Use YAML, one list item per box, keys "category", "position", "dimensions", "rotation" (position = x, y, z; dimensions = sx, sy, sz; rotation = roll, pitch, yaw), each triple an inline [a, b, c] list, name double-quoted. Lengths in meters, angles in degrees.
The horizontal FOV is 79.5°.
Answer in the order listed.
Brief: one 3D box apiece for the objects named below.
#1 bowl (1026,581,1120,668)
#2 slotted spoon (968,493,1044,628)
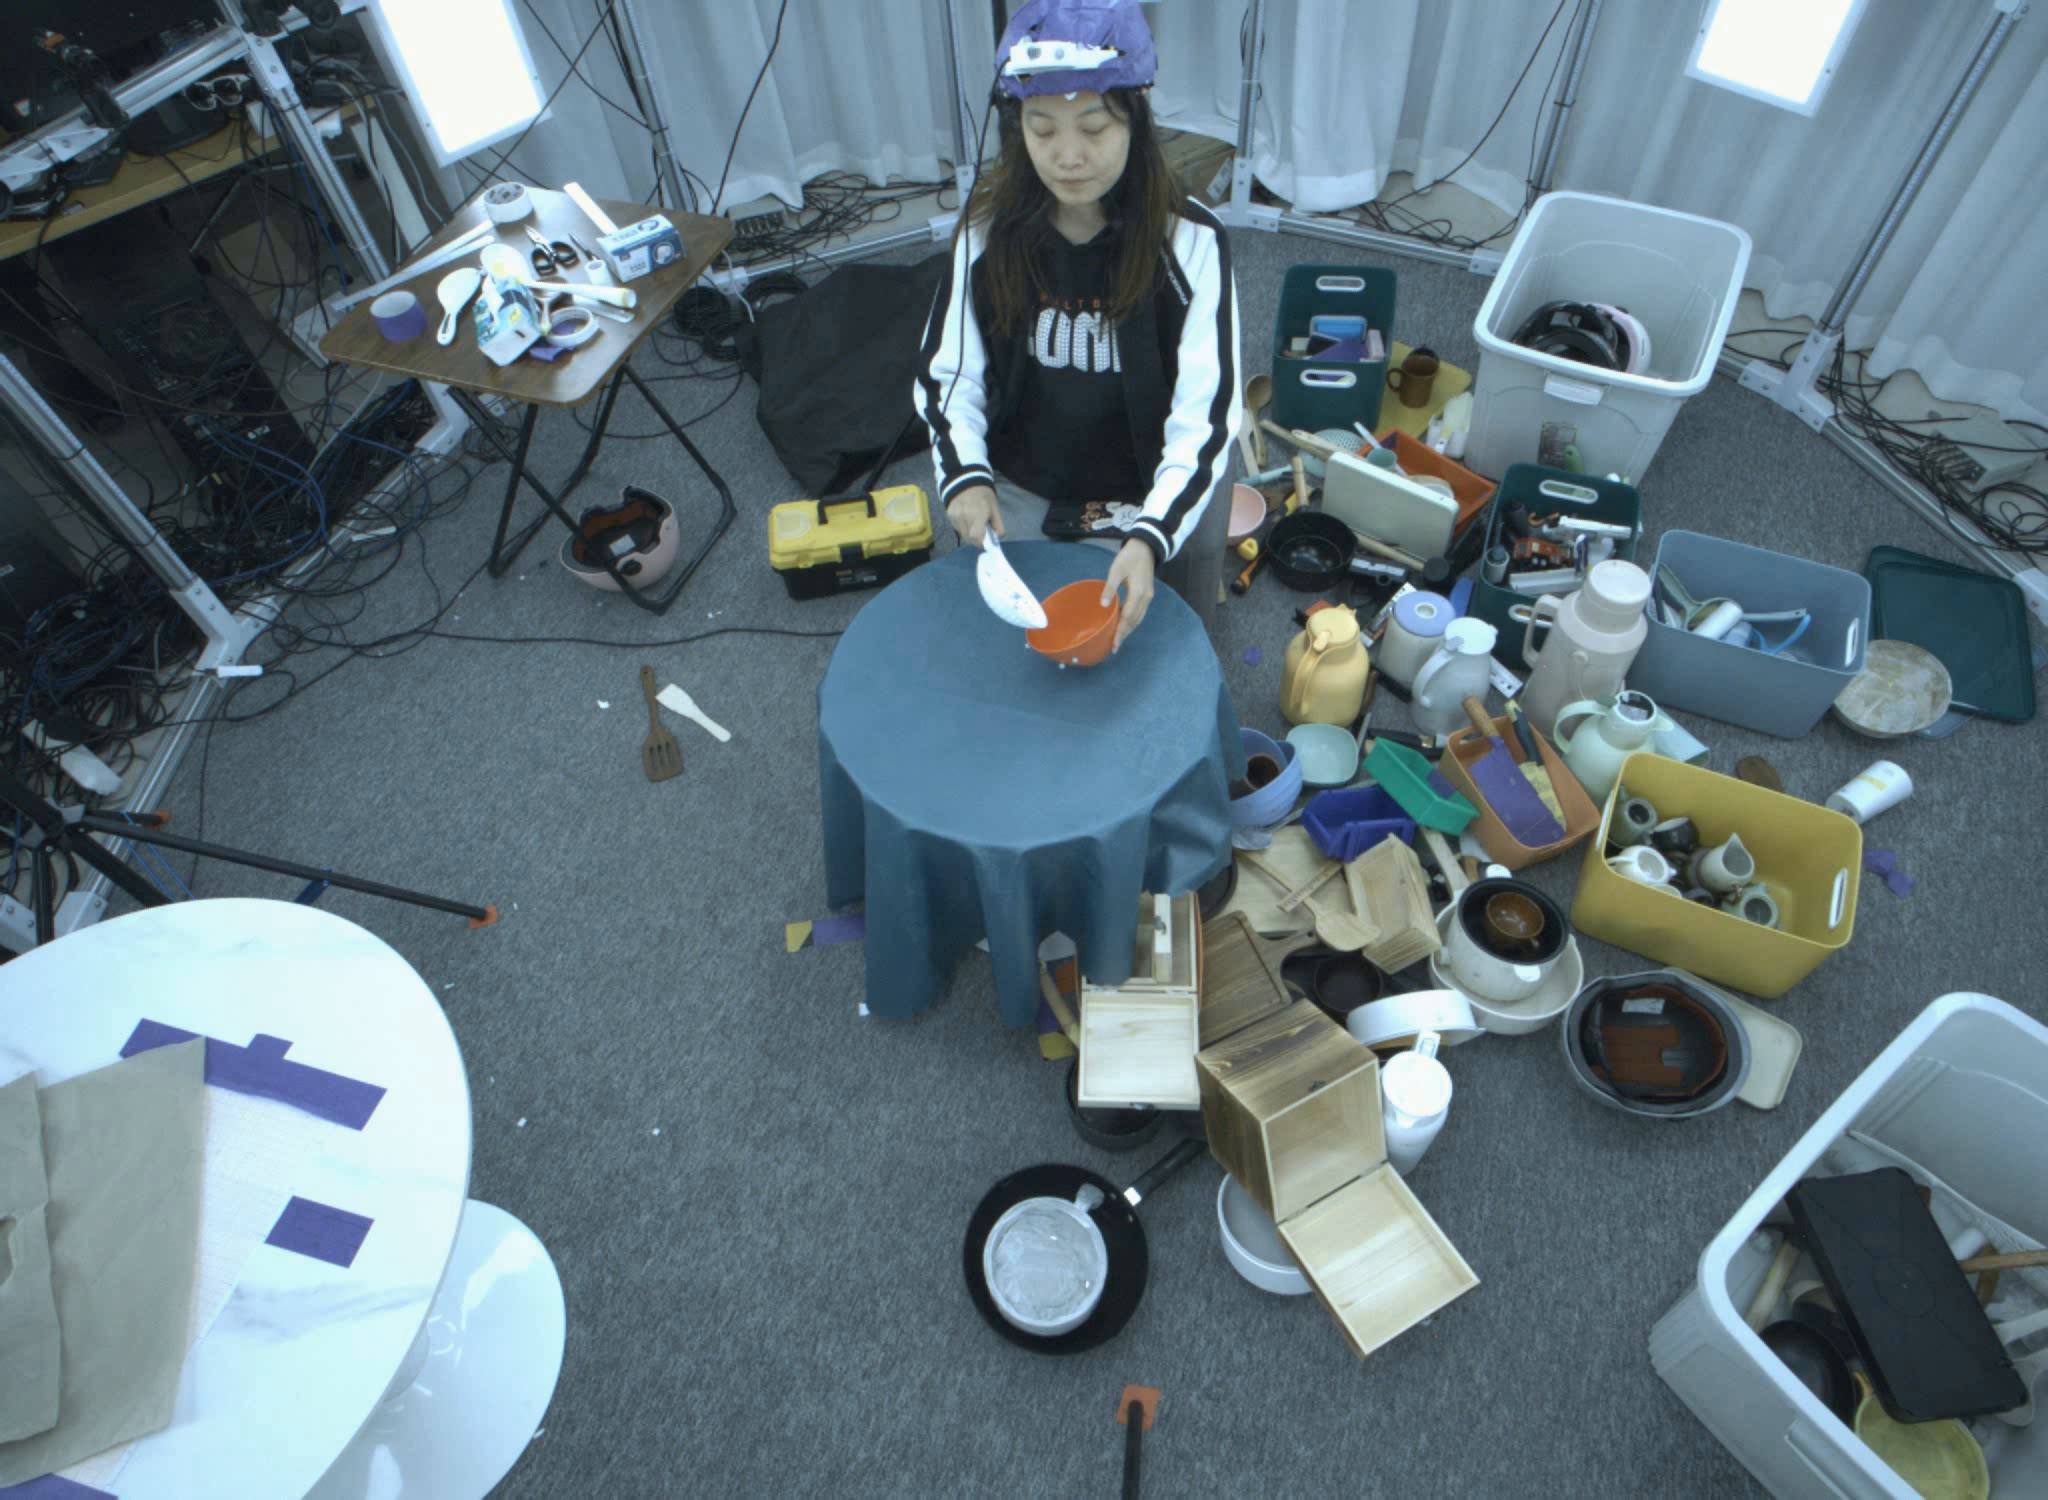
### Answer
- category: "bowl"
  position: [0.085, -0.171, 1.811]
  dimensions: [0.146, 0.107, 0.146]
  rotation: [-13, 52, 19]
- category: "slotted spoon"
  position: [-0.046, -0.291, 1.817]
  dimensions: [0.045, 0.139, 0.344]
  rotation: [-36, 40, 23]
